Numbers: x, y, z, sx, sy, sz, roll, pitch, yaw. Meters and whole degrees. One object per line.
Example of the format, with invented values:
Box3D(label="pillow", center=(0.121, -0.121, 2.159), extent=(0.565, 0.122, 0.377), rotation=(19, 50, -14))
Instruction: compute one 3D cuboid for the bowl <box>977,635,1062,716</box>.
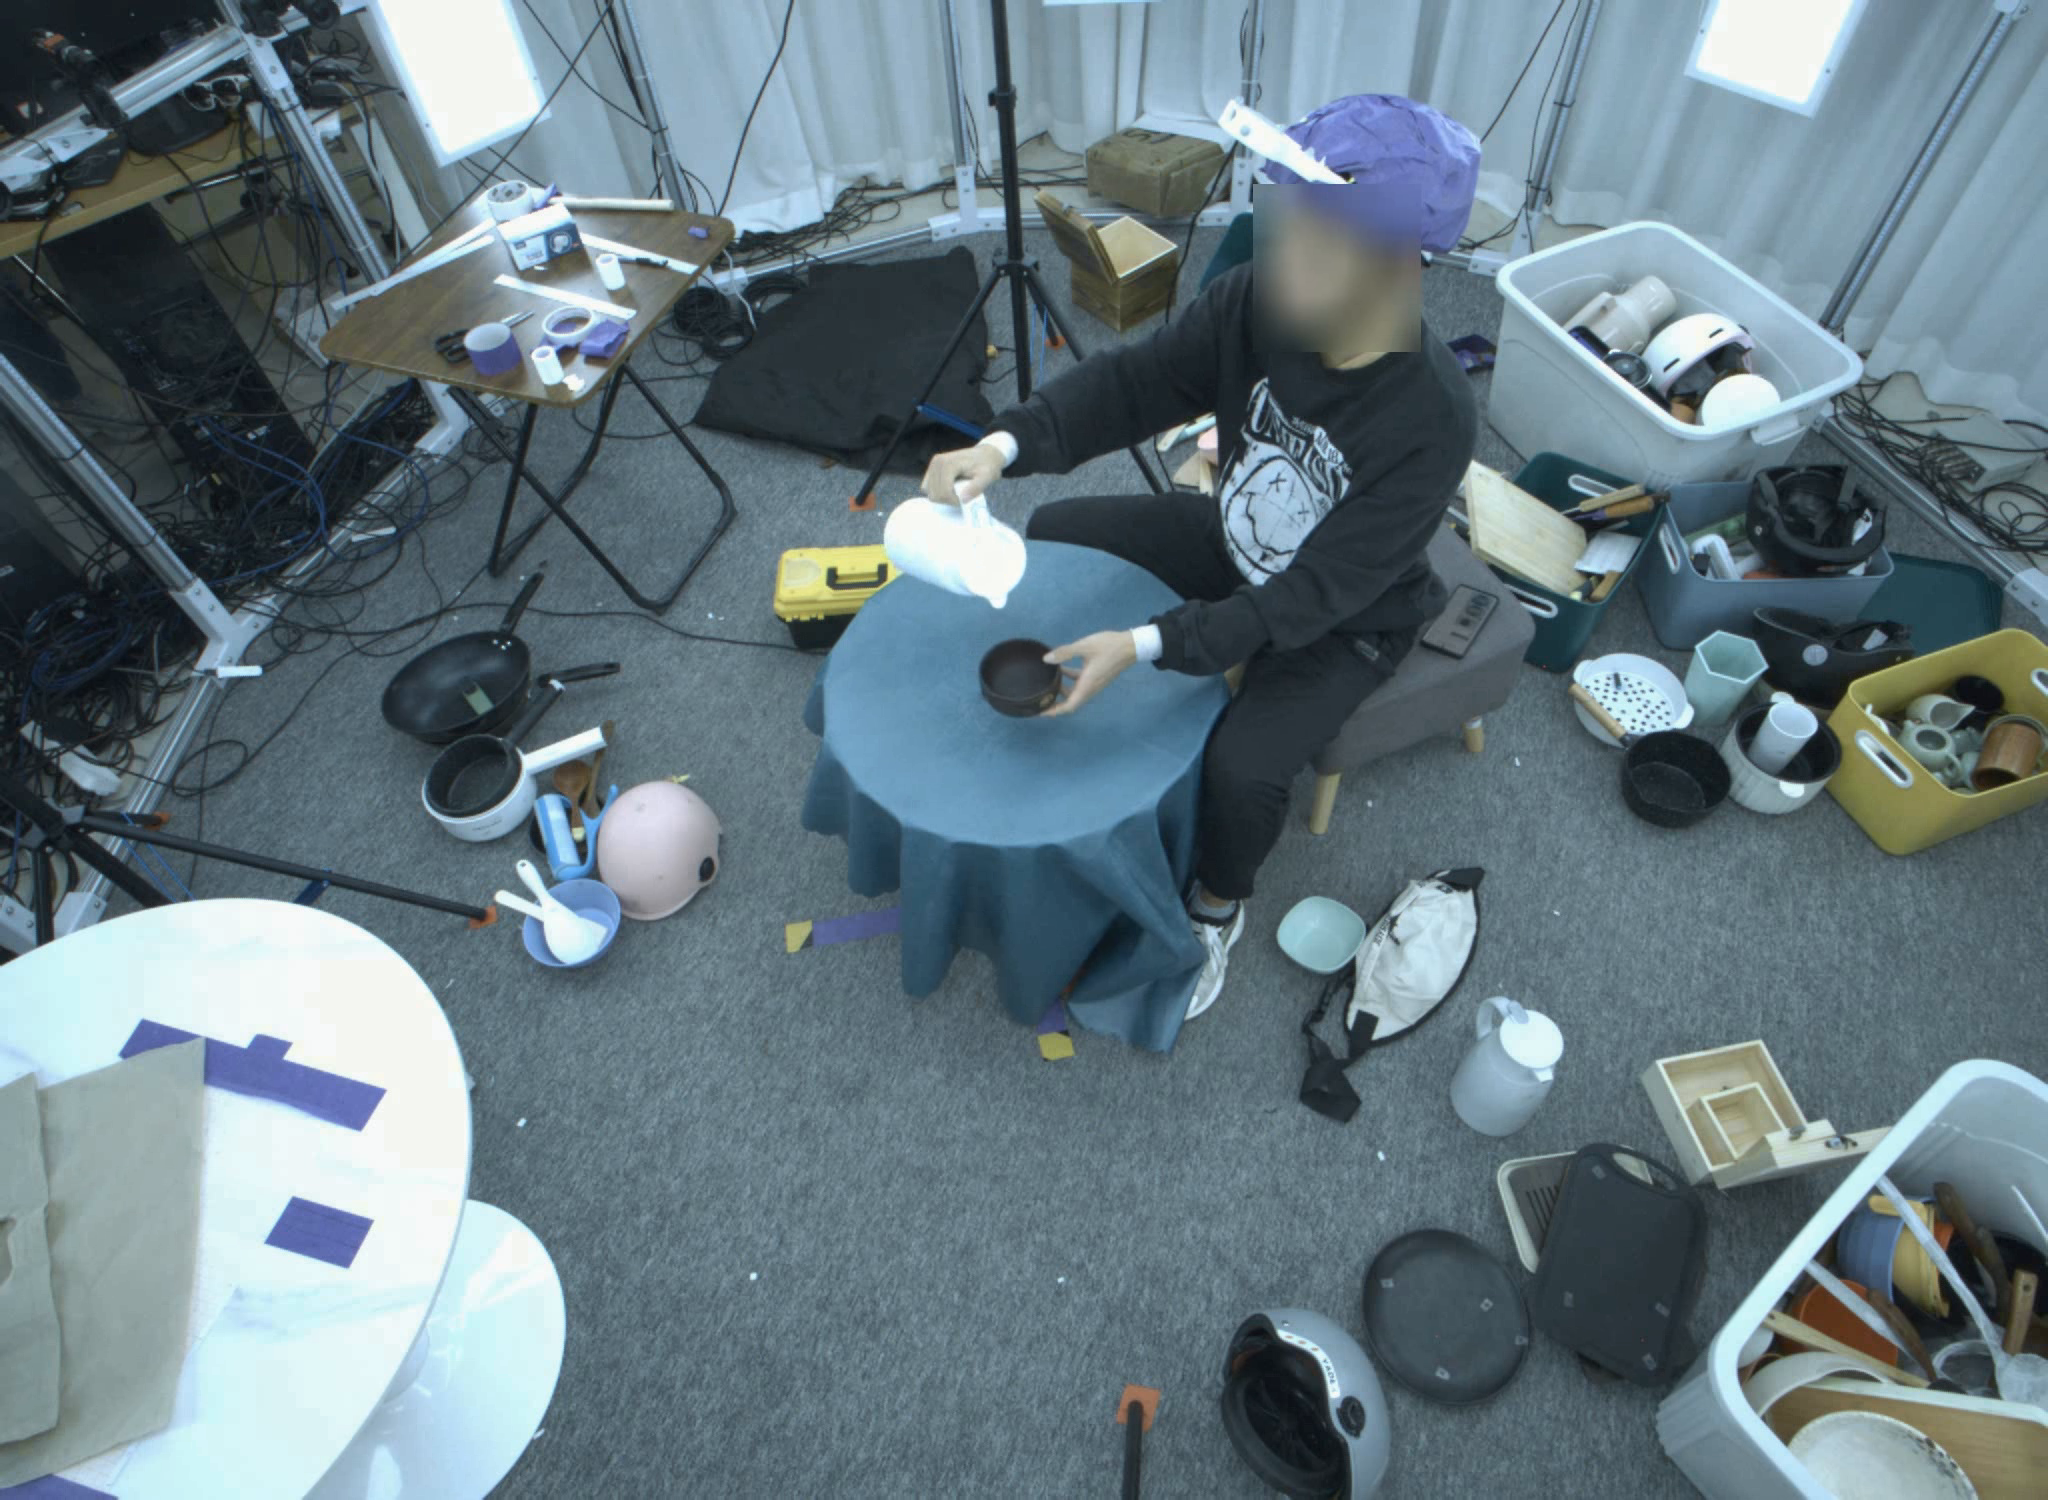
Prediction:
Box3D(label="bowl", center=(-0.005, -0.097, 1.733), extent=(0.118, 0.070, 0.117), rotation=(-1, 54, 3))

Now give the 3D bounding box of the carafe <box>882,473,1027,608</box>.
Box3D(label="carafe", center=(-0.106, -0.302, 1.712), extent=(0.125, 0.175, 0.263), rotation=(-23, 27, -19))
